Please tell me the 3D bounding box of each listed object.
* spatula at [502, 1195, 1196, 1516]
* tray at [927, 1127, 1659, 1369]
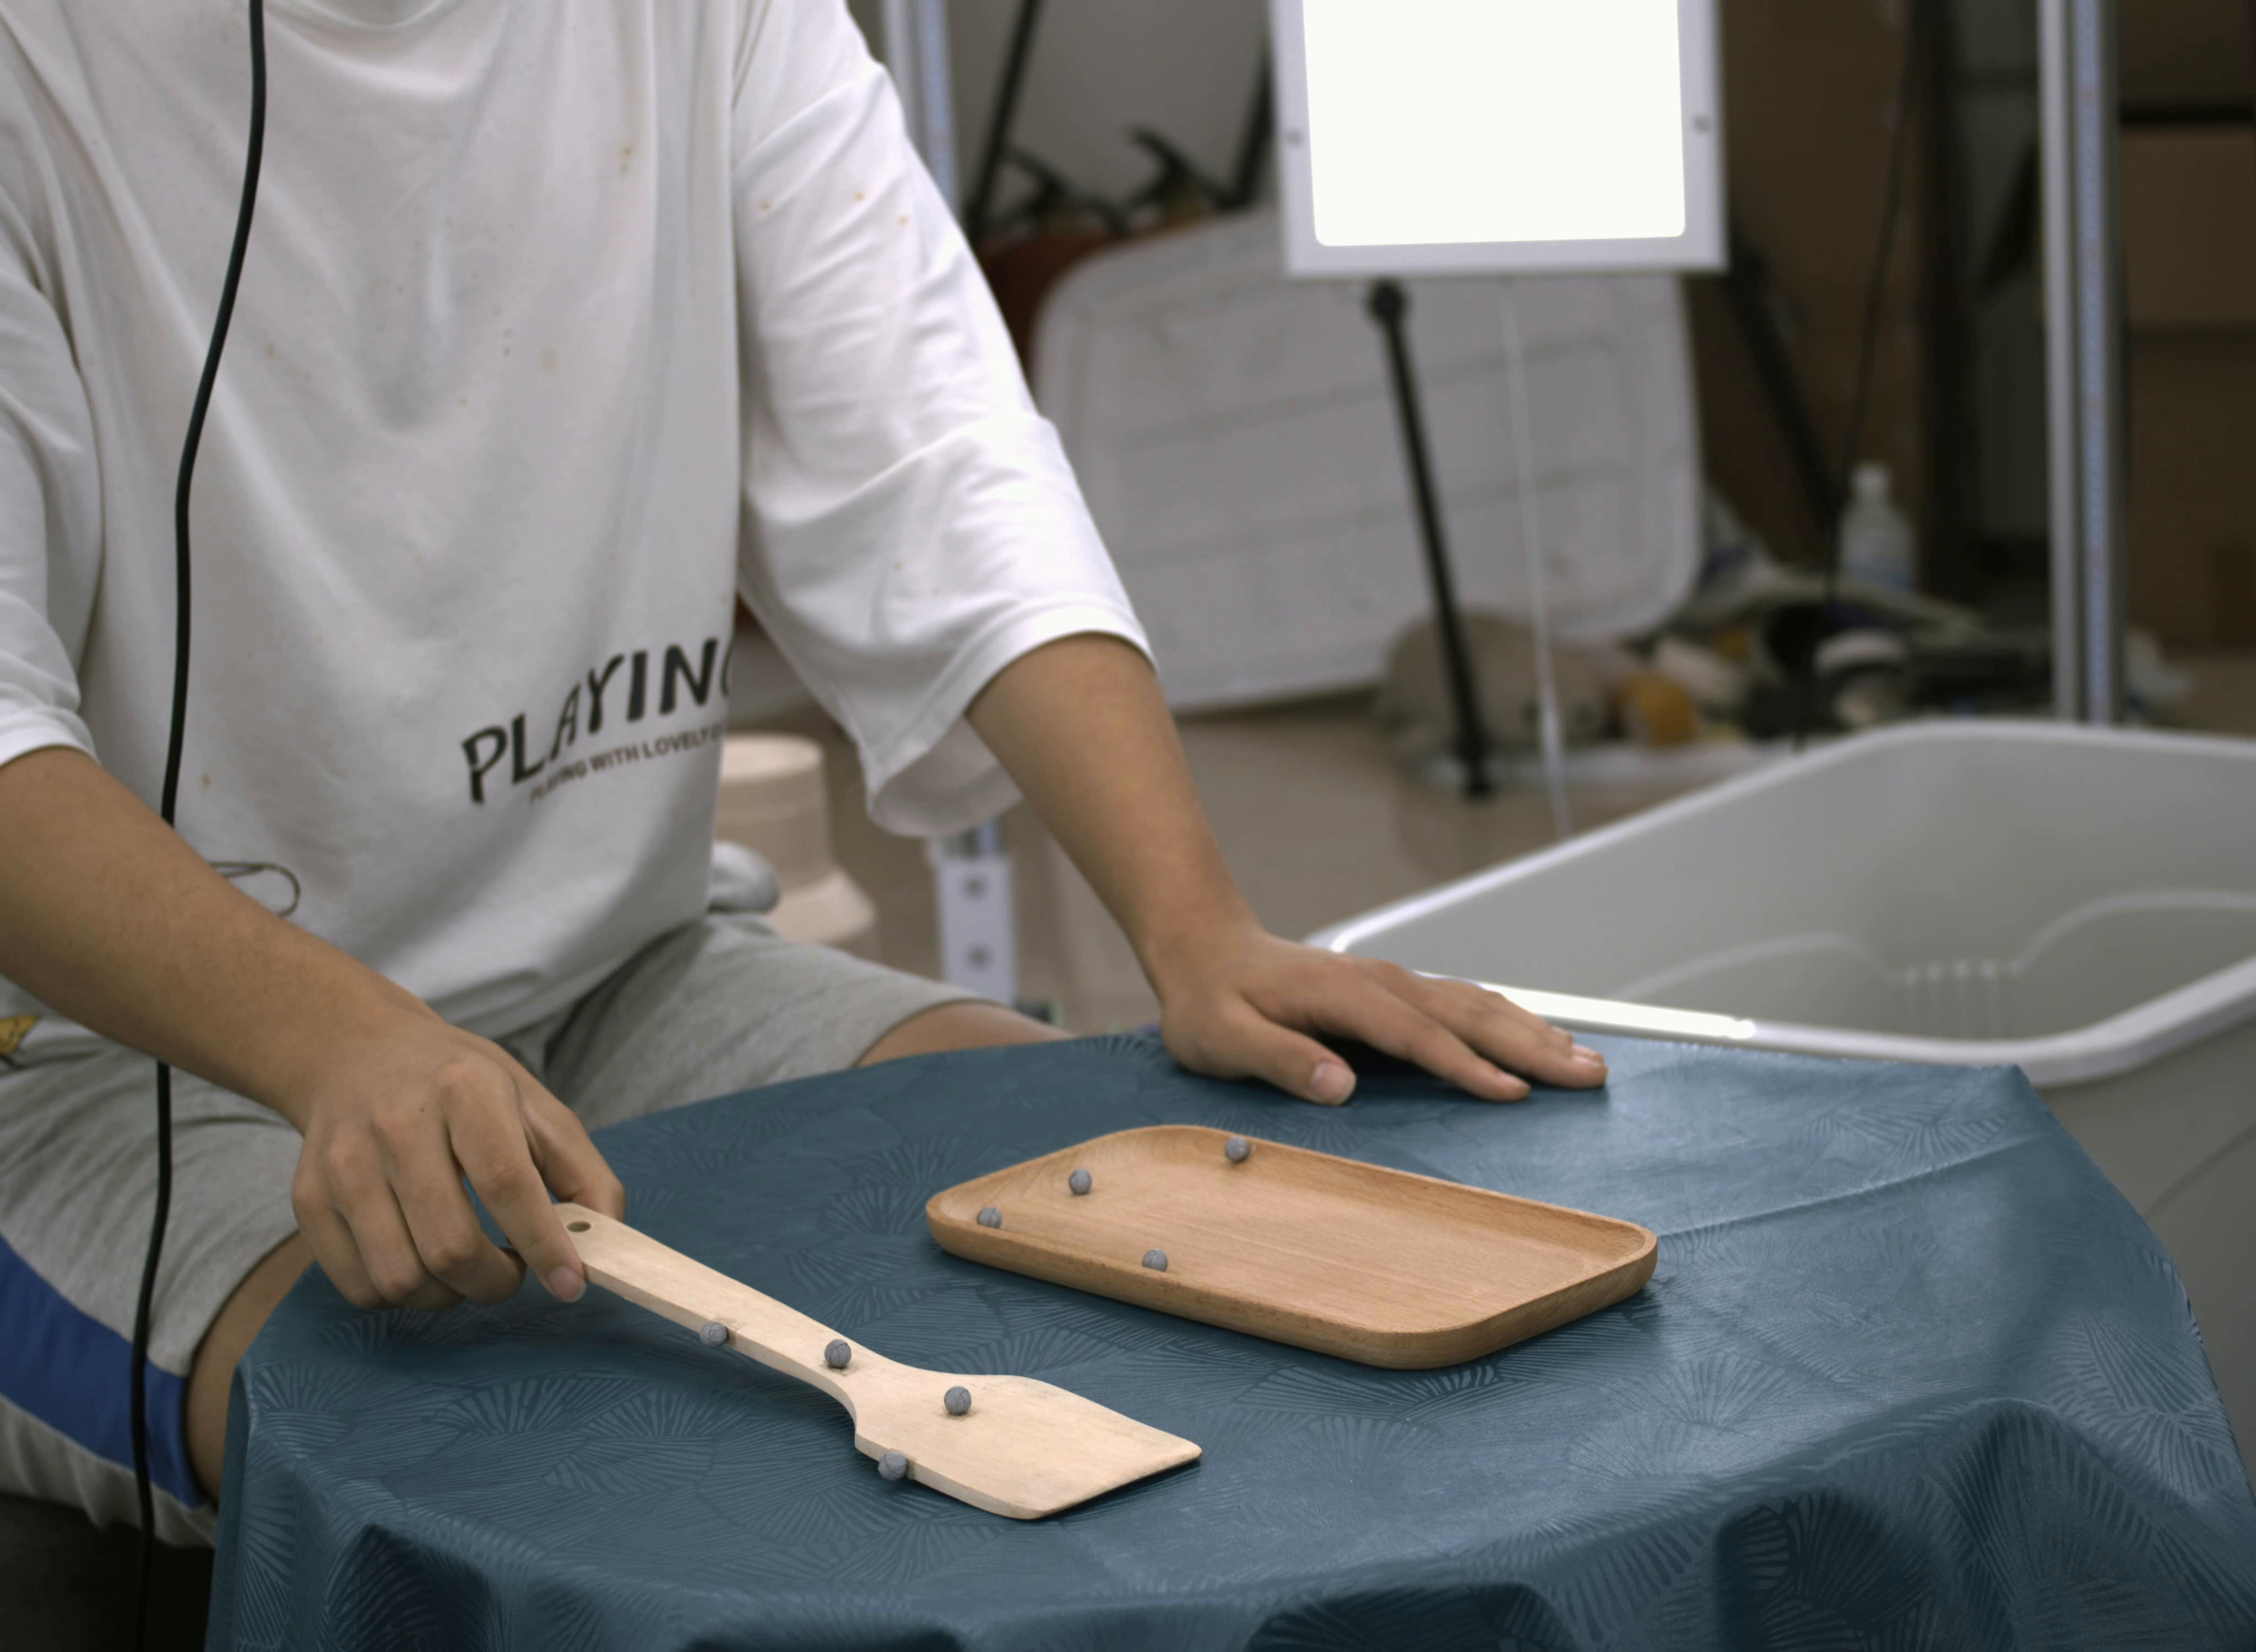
[{"bbox_3d":[-0.101,0.161,1.720,0.070,0.011,0.299,-16,24,-39],"label":"spatula"},{"bbox_3d":[0.052,0.136,1.804,0.127,0.023,0.256,-19,19,-37],"label":"tray"}]
